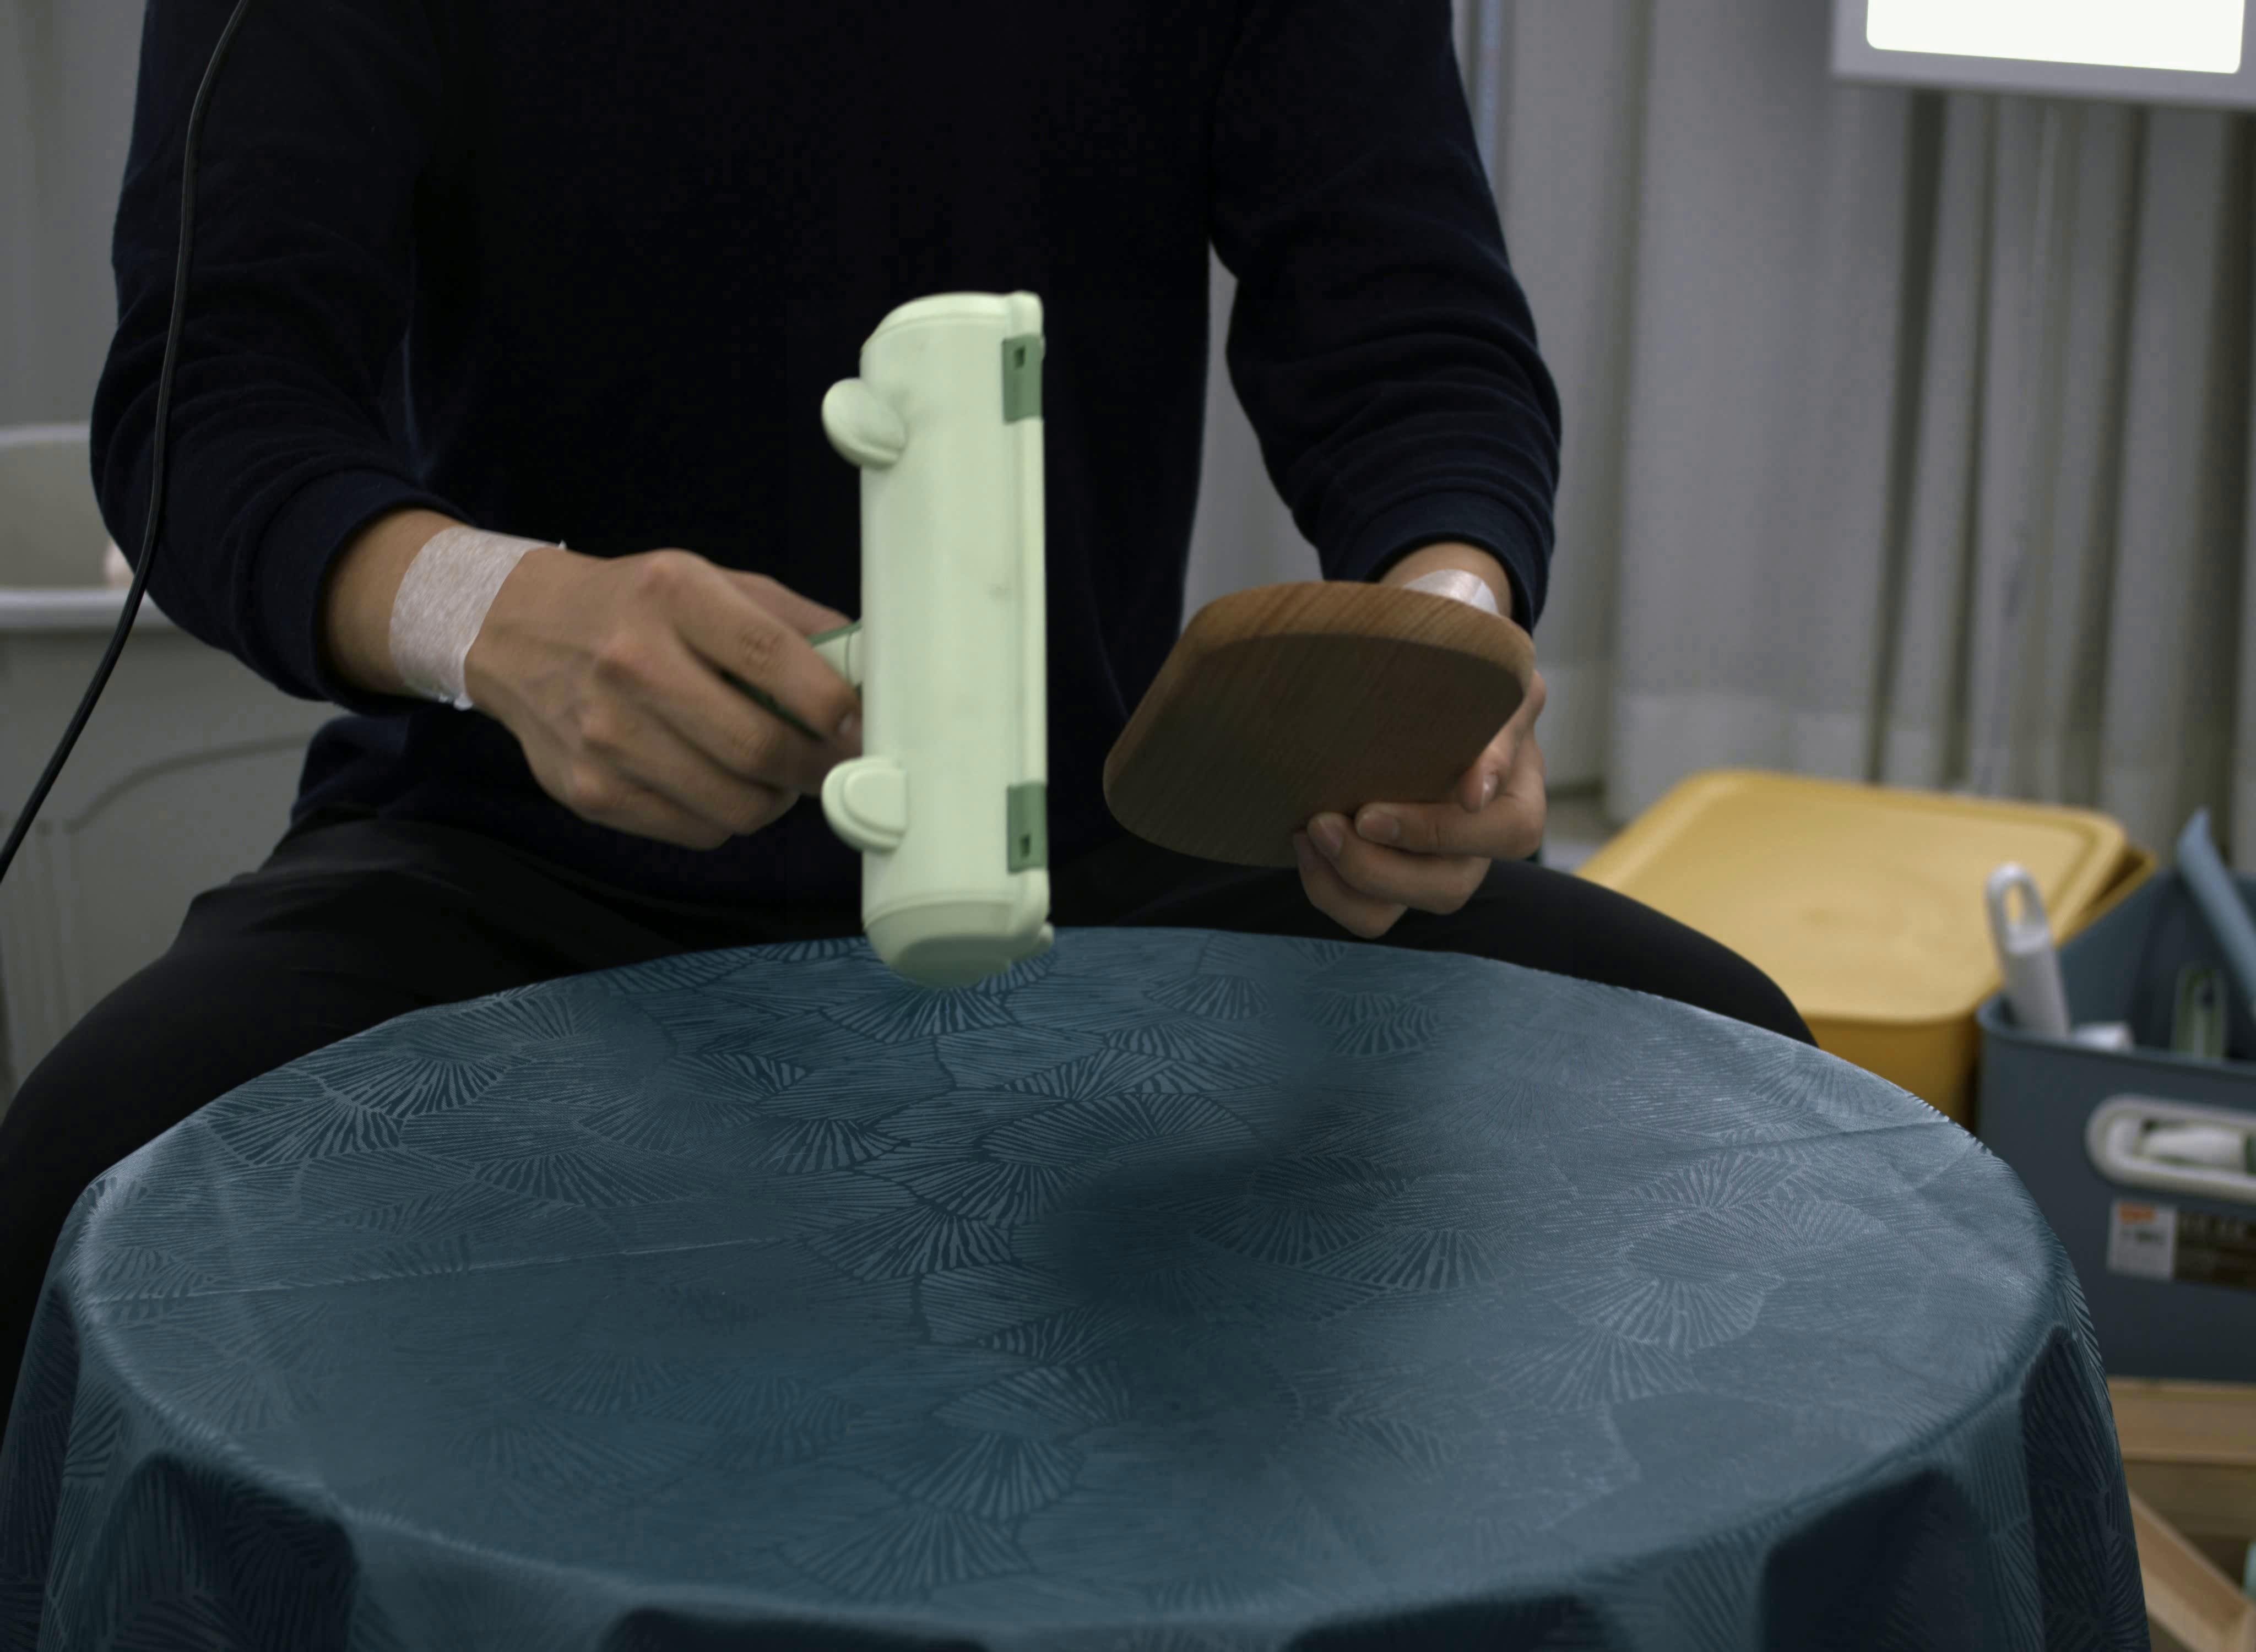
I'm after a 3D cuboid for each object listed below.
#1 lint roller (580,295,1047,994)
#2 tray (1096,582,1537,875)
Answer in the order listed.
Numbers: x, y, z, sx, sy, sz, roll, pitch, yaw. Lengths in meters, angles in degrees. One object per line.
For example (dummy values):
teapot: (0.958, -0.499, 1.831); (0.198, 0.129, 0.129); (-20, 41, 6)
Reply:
lint roller: (-0.102, -0.043, 1.513); (0.182, 0.198, 0.083); (-13, -22, 29)
tray: (0.053, -0.026, 1.562); (0.102, 0.020, 0.231); (9, -20, -9)
